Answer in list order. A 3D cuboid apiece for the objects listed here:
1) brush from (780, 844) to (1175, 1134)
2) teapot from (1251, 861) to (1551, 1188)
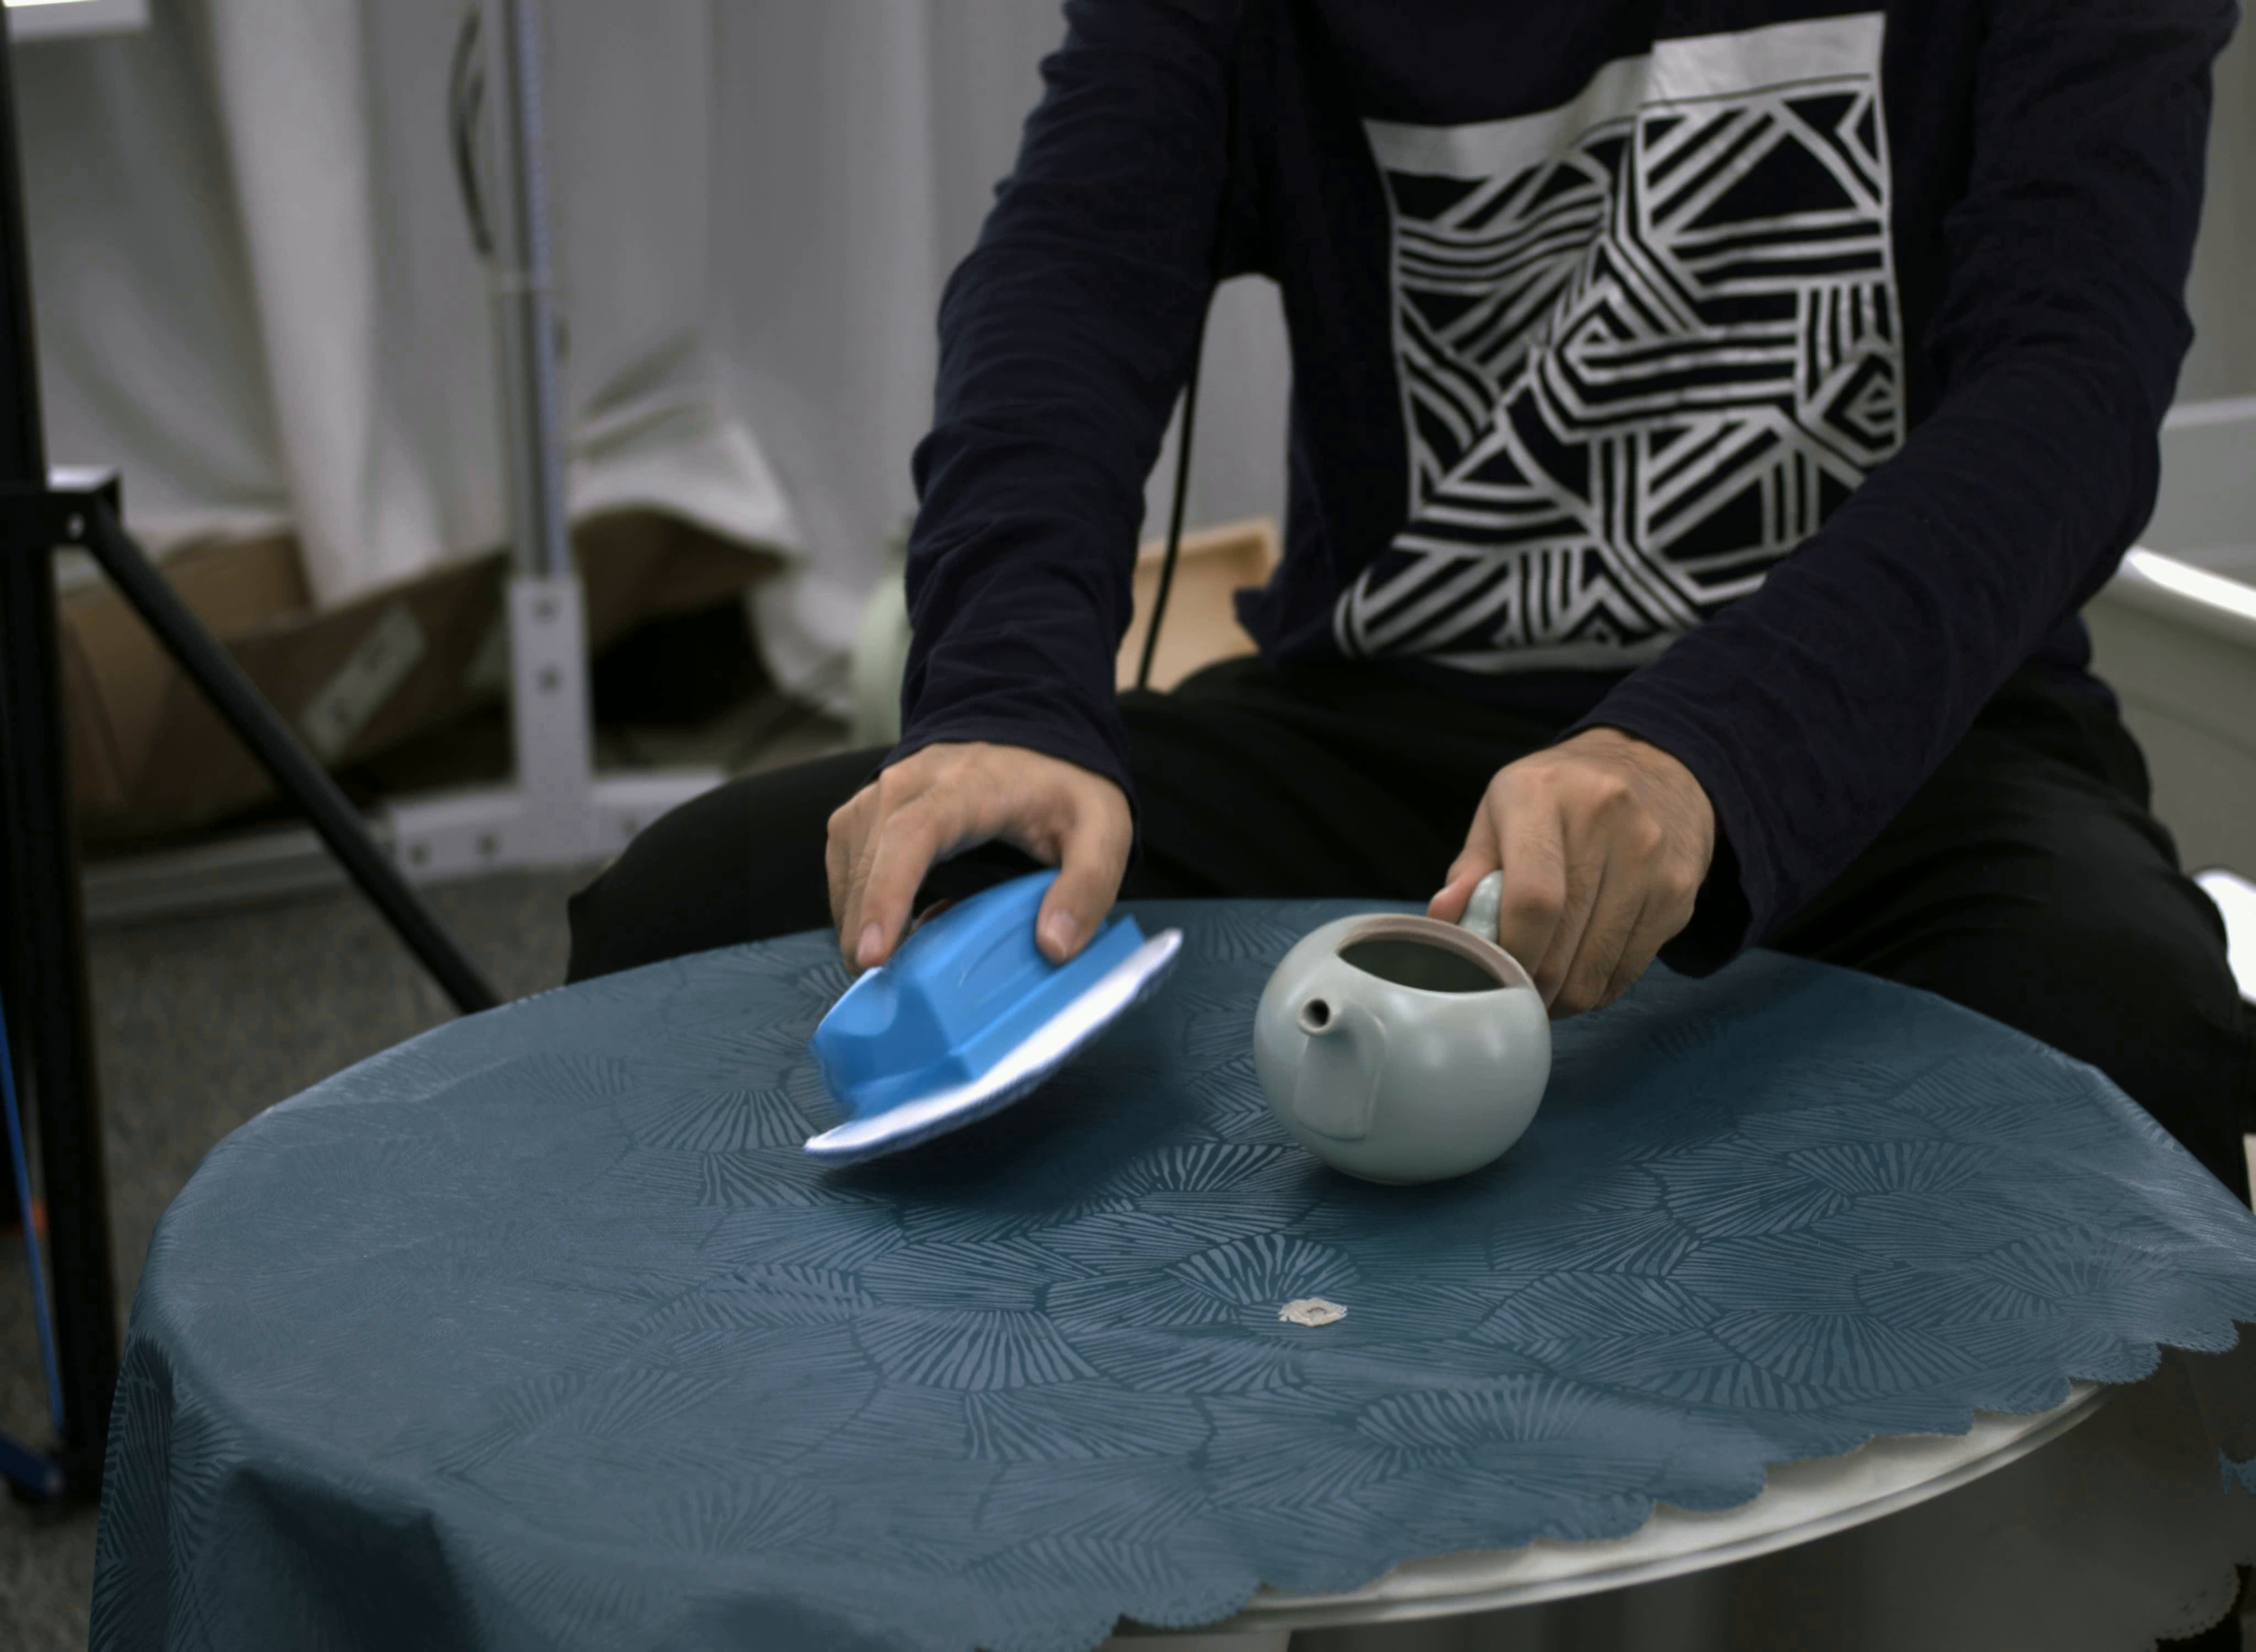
[{"bbox_3d":[-0.049,0.047,1.620,0.085,0.056,0.142,-16,13,32],"label":"brush"},{"bbox_3d":[0.080,0.064,1.557,0.090,0.075,0.141,19,28,28],"label":"teapot"}]
